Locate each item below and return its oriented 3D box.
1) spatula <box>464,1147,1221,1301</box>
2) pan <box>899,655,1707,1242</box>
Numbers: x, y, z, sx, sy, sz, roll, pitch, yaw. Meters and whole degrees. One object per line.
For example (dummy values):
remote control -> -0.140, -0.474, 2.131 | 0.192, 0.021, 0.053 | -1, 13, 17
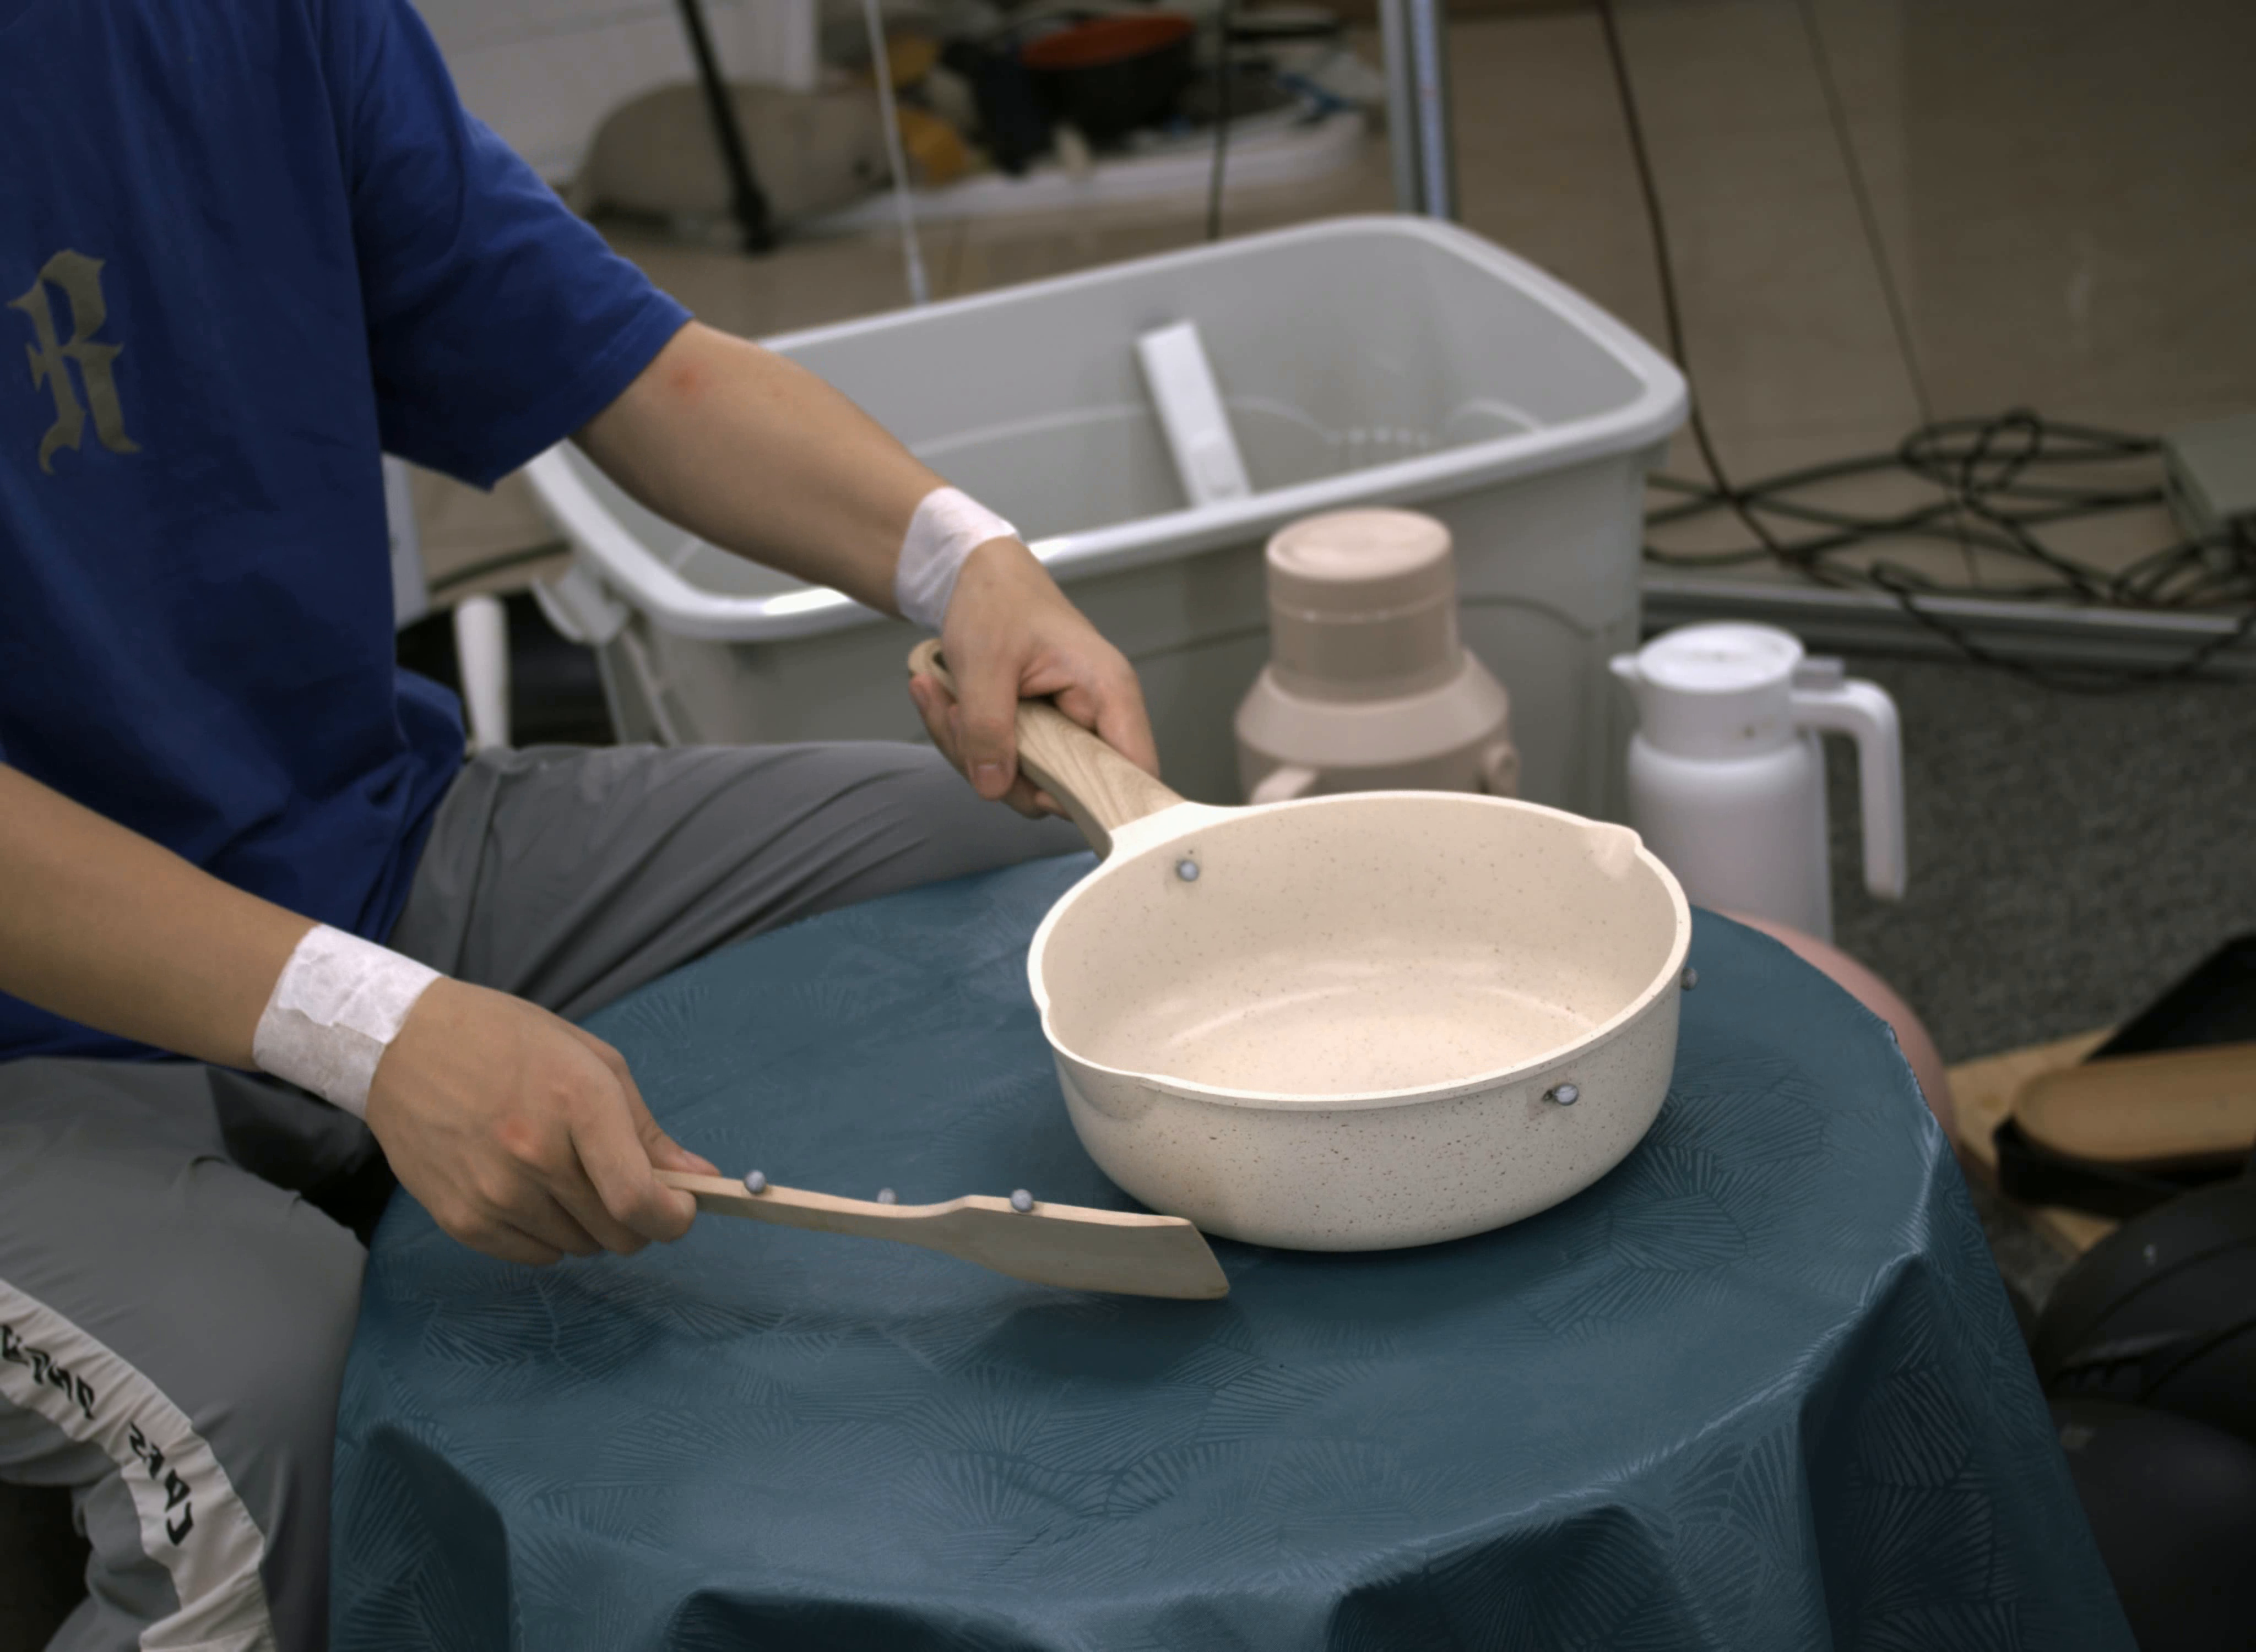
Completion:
spatula -> -0.110, 0.142, 2.079 | 0.292, 0.073, 0.010 | 7, 67, 18
pan -> 0.044, 0.040, 2.219 | 0.261, 0.103, 0.430 | -23, 31, -28
